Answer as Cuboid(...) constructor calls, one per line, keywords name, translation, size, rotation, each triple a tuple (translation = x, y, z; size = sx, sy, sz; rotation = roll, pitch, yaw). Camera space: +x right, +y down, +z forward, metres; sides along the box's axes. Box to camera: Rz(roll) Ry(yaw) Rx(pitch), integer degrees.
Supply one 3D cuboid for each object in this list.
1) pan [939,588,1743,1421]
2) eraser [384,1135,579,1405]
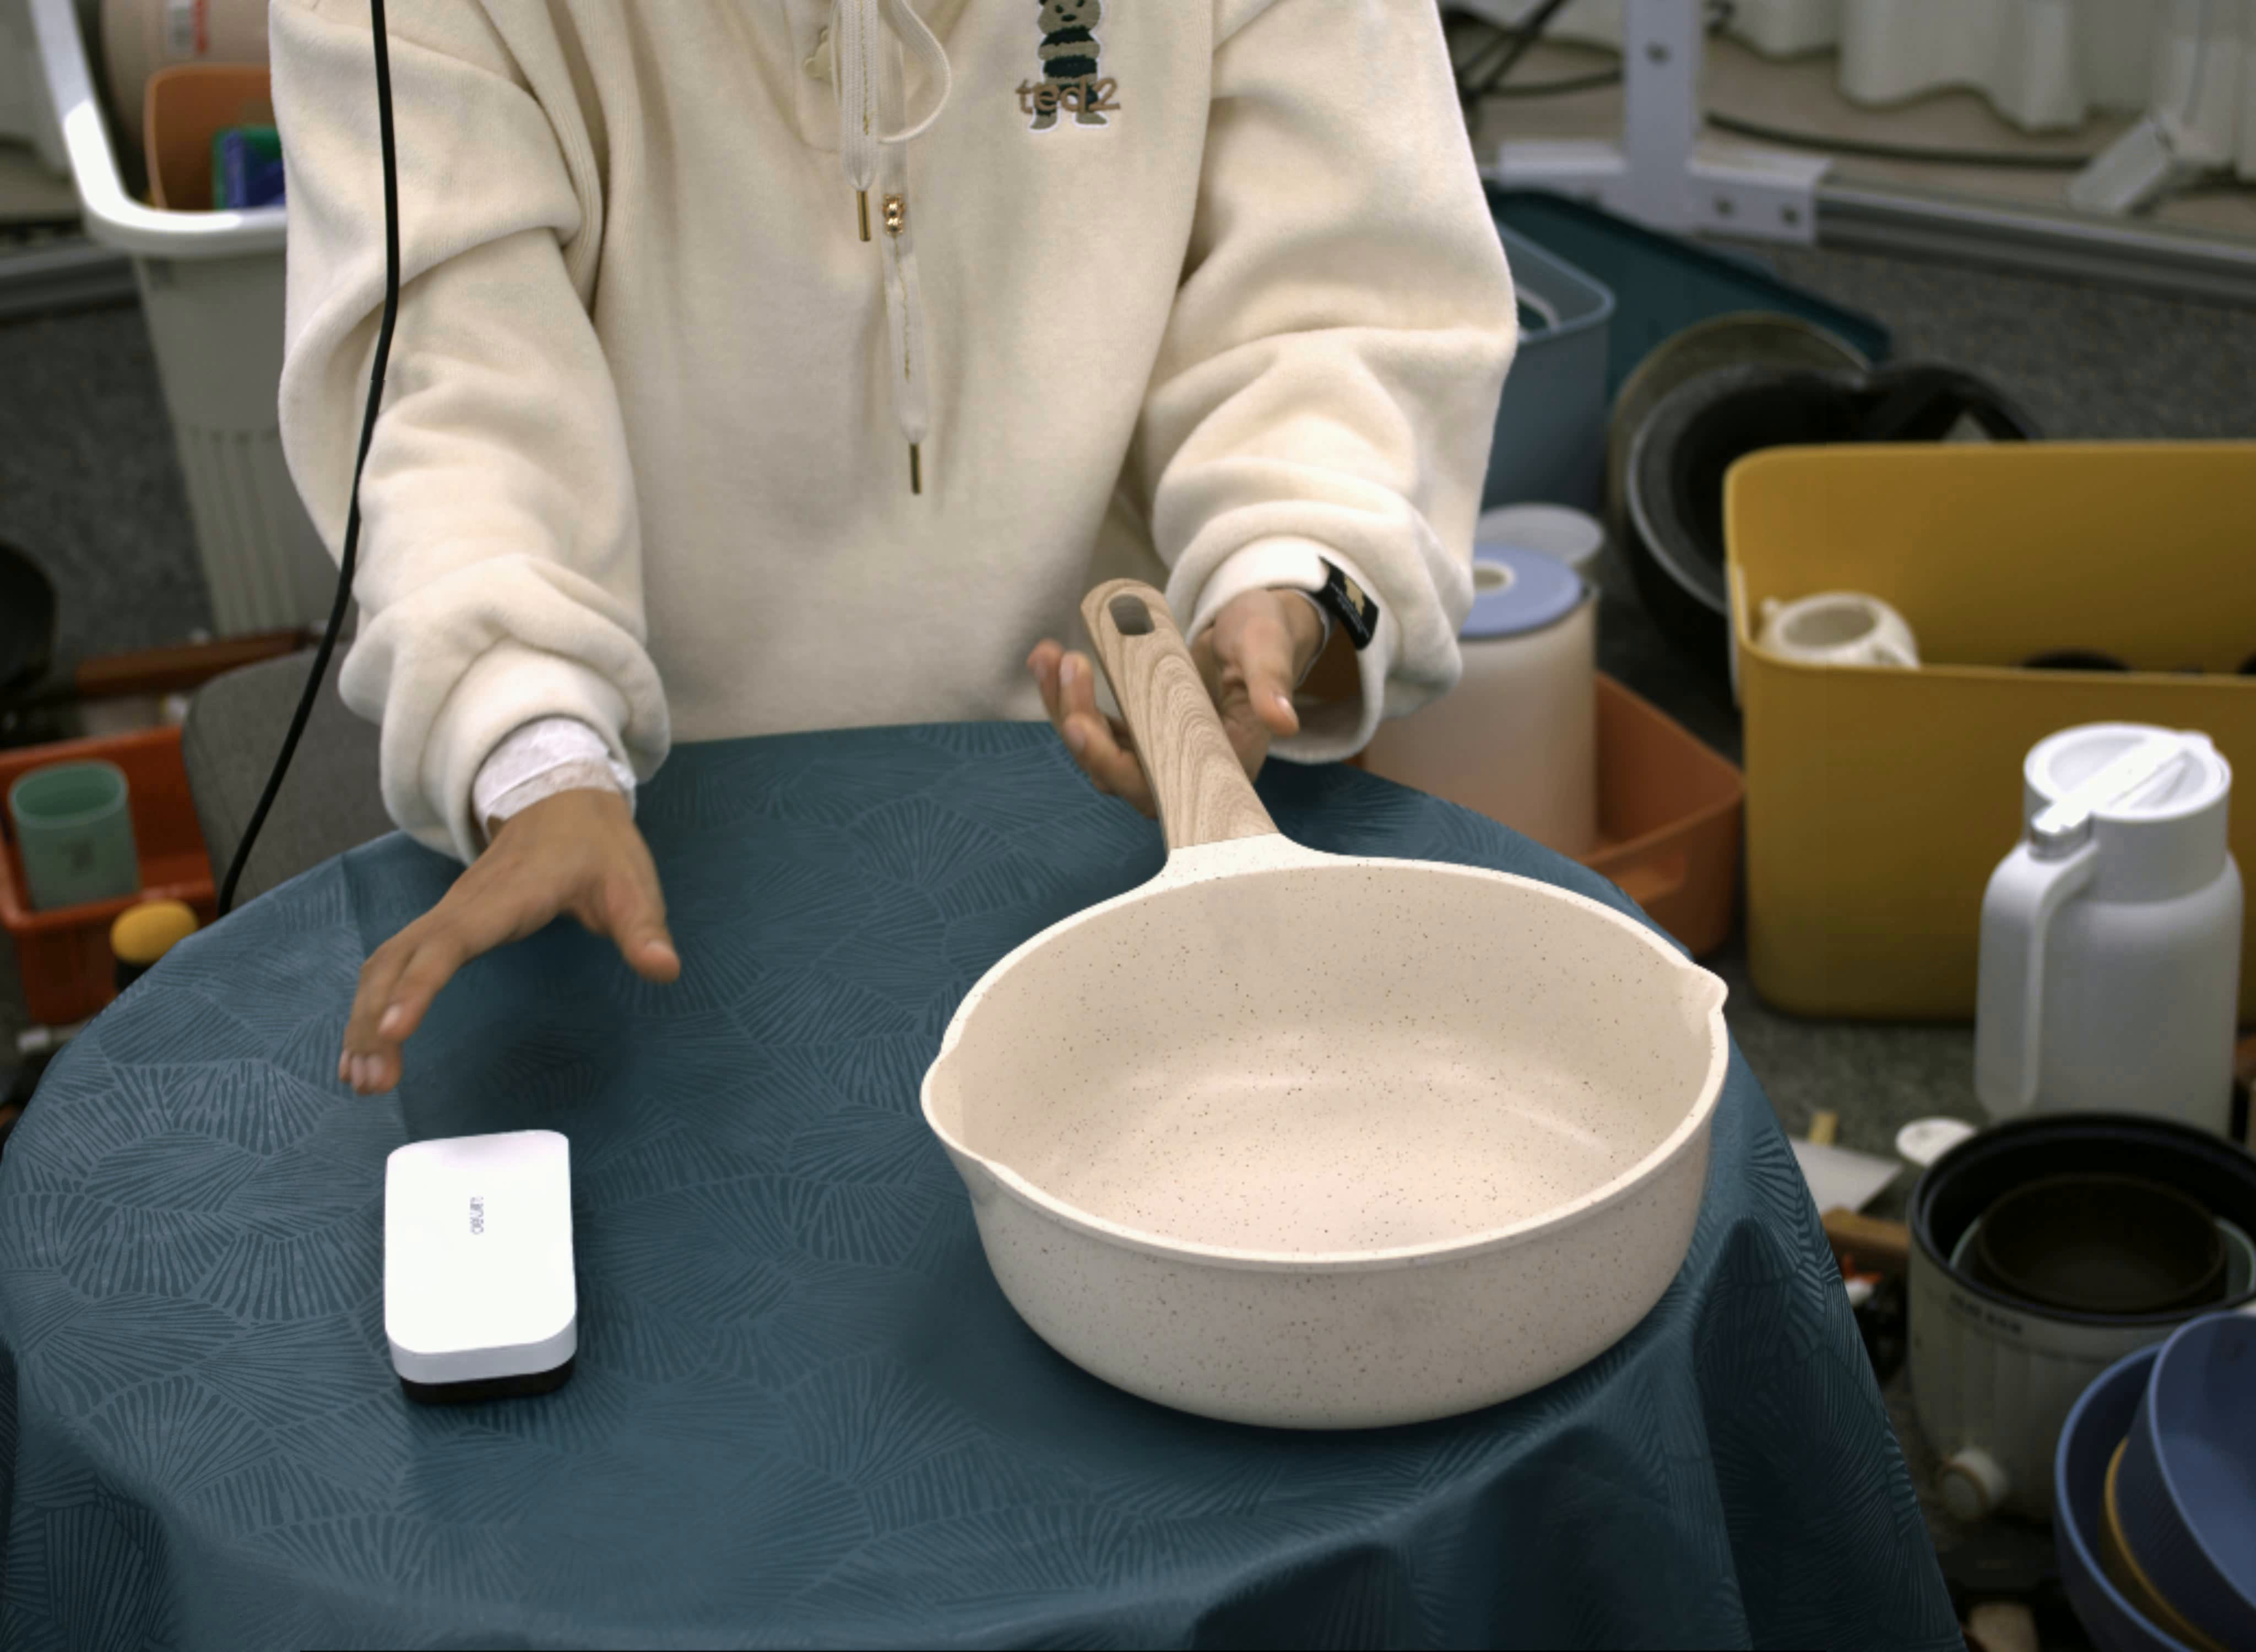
Cuboid(name="pan", translation=(0.049, 0.054, 1.876), size=(0.263, 0.101, 0.440), rotation=(-10, 28, -10))
Cuboid(name="eraser", translation=(-0.208, 0.140, 1.814), size=(0.063, 0.034, 0.133), rotation=(-3, 27, -6))
